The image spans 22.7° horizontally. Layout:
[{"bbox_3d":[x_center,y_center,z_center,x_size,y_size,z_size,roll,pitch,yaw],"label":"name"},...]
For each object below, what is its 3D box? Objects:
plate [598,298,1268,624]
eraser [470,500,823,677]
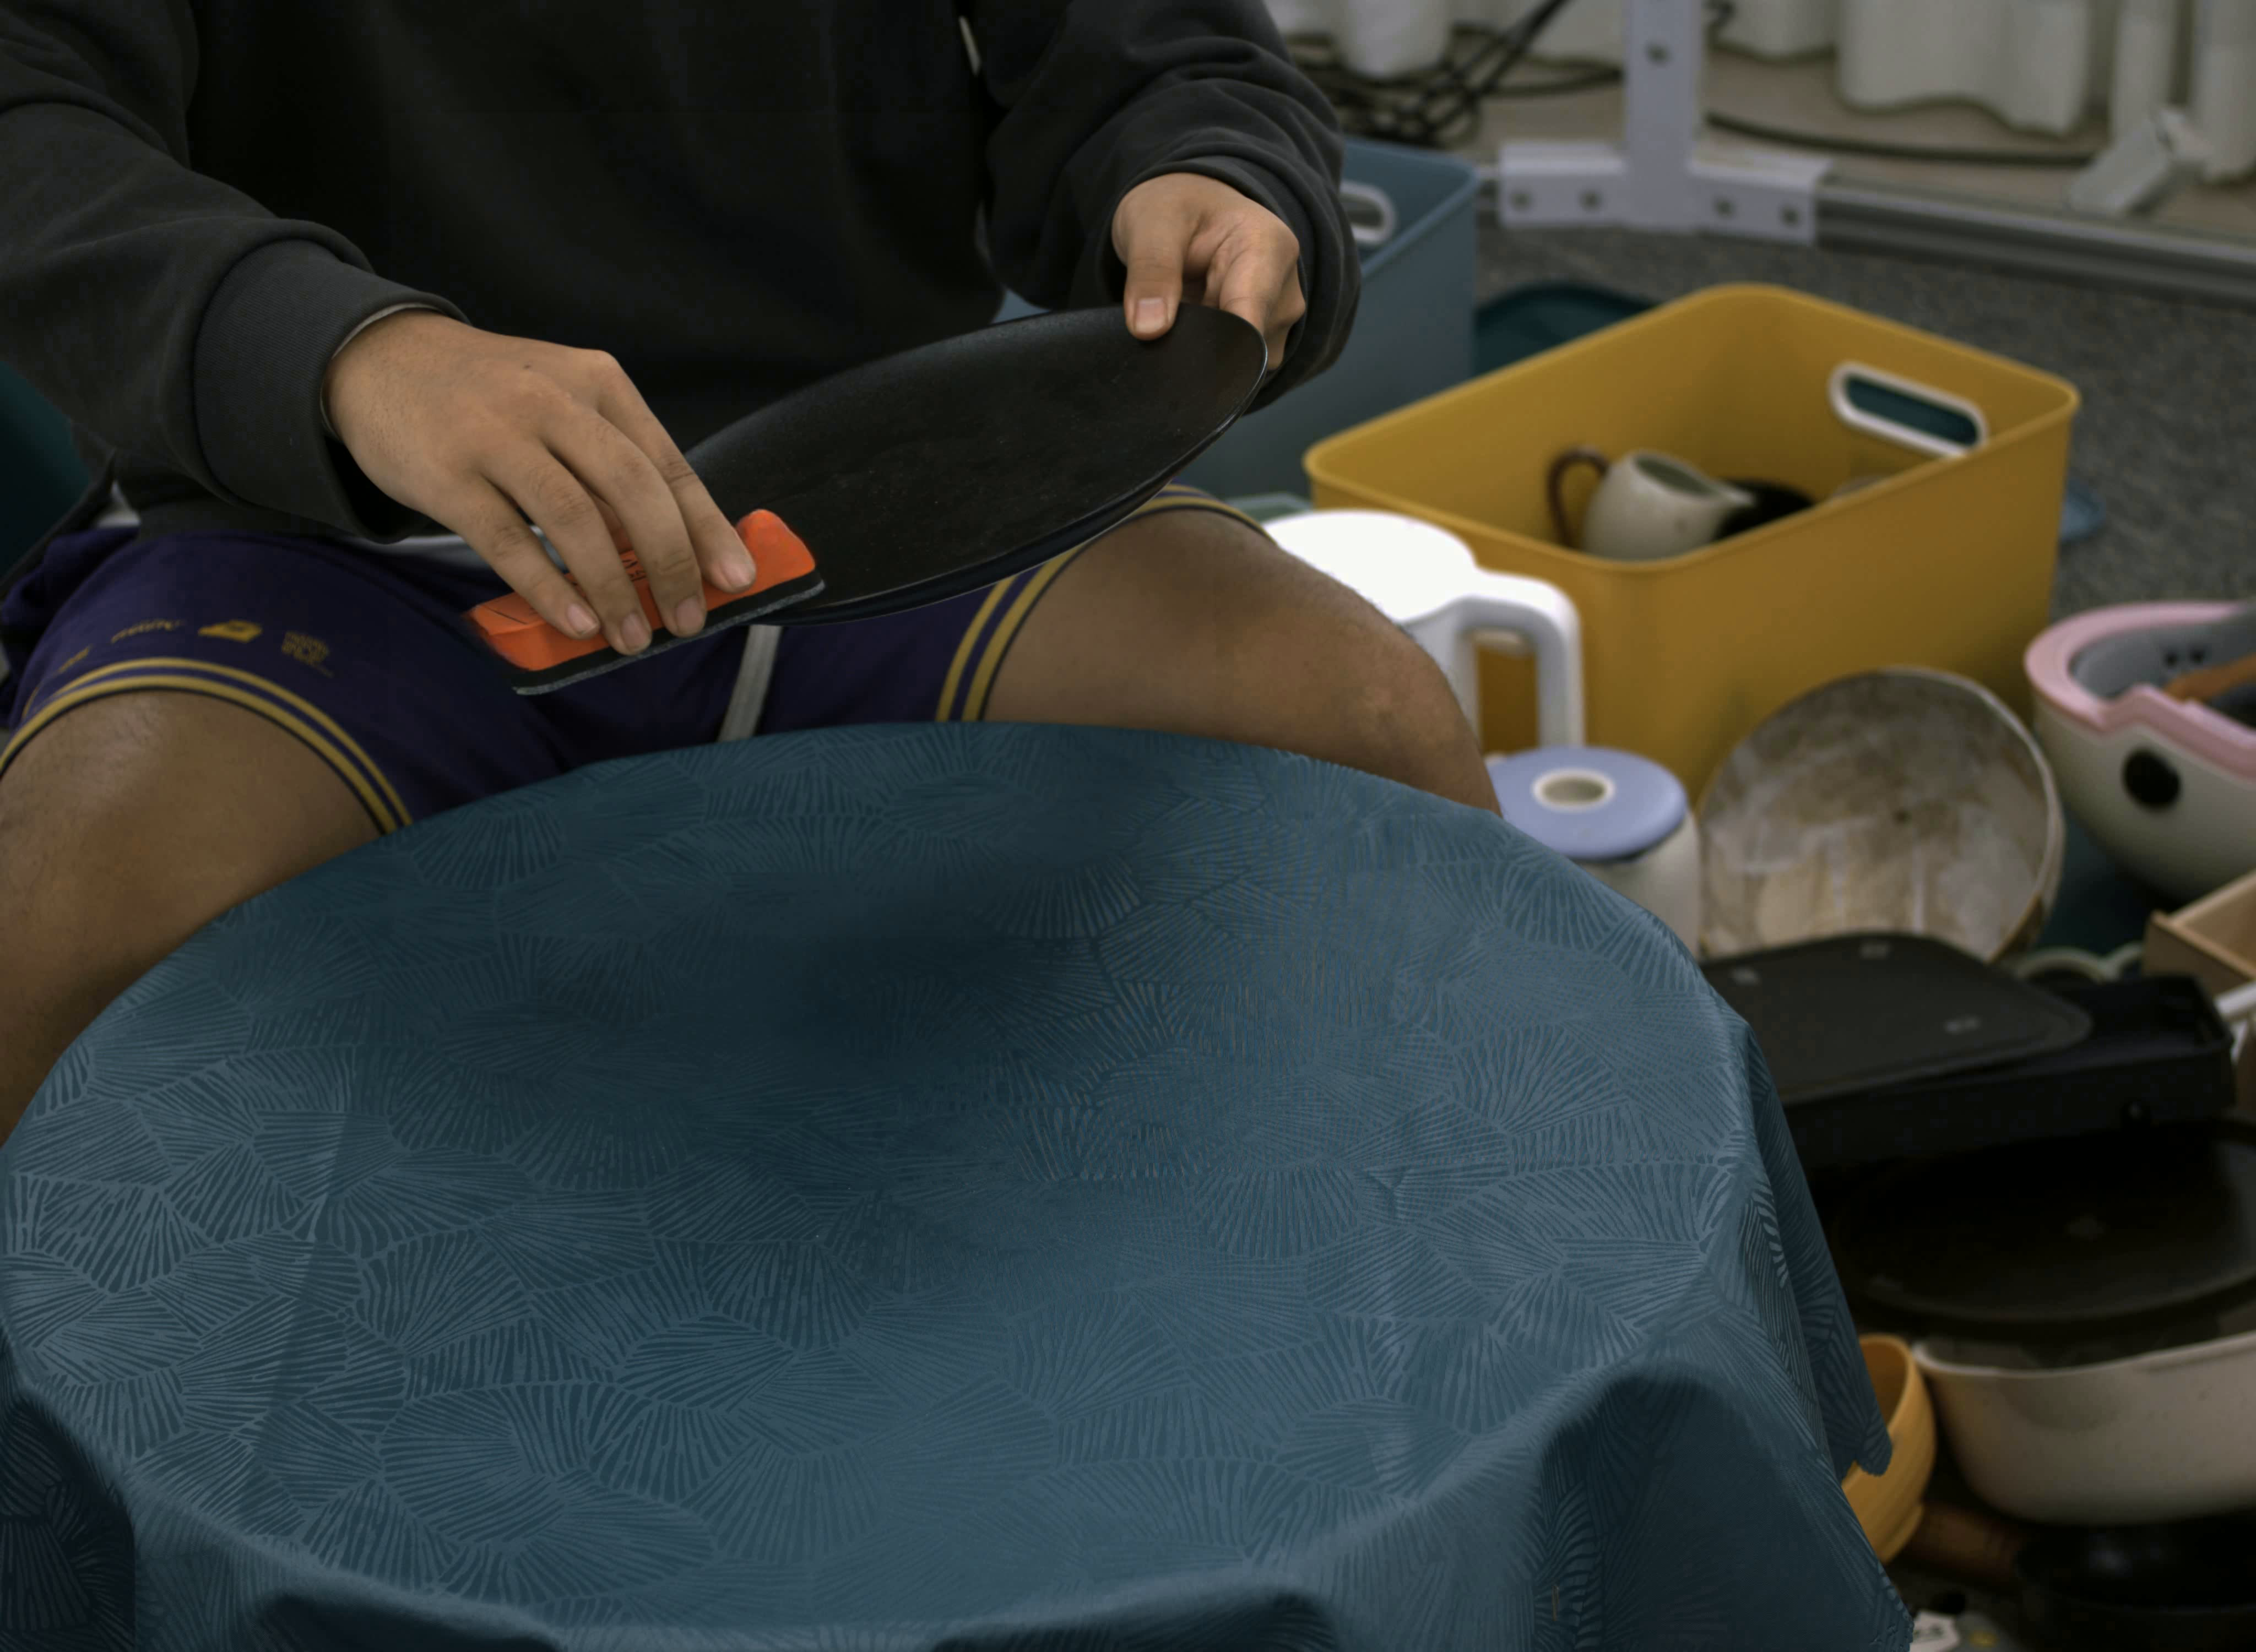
[{"bbox_3d":[-0.065,-0.120,1.934,0.243,0.023,0.247,-16,22,7],"label":"plate"},{"bbox_3d":[-0.157,-0.078,1.837,0.108,0.023,0.059,-20,18,-21],"label":"eraser"}]
